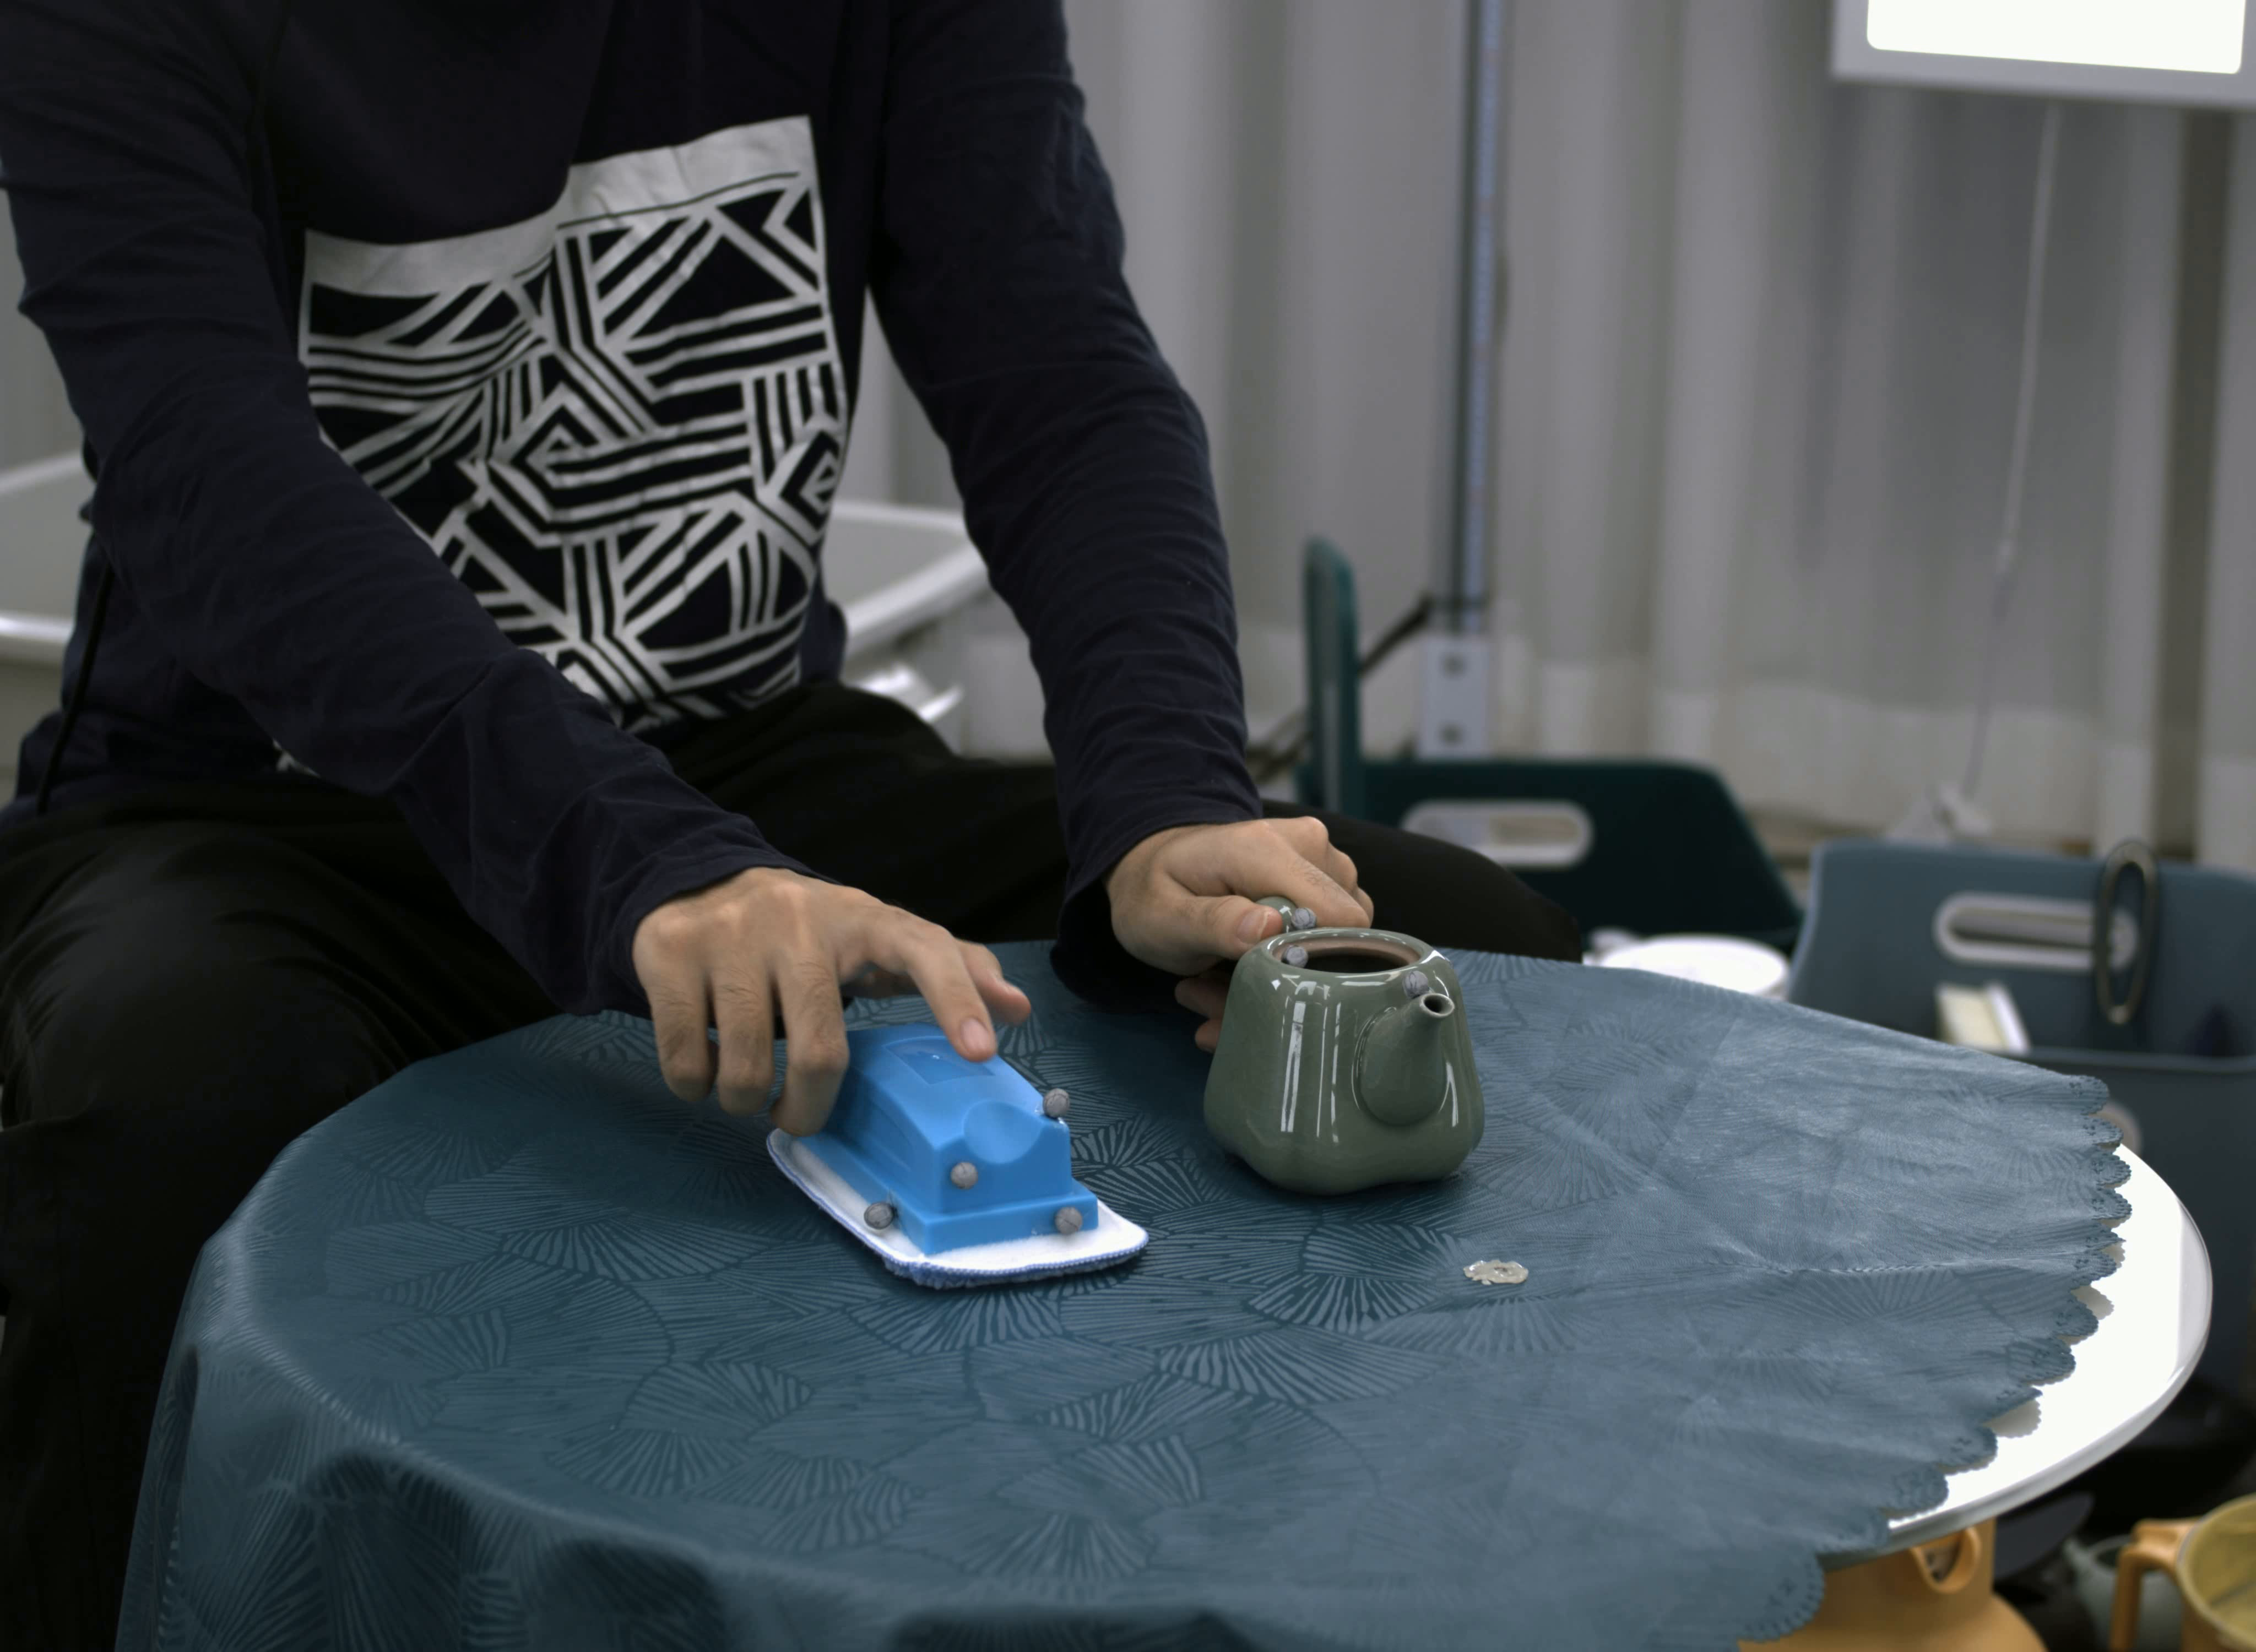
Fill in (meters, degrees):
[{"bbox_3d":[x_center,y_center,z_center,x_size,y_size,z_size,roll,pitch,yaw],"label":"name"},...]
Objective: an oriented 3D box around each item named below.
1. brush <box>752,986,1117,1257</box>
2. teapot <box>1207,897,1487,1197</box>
[{"bbox_3d":[-0.058,0.087,1.600,0.084,0.056,0.142,-2,18,-21],"label":"brush"},{"bbox_3d":[0.068,0.071,1.642,0.080,0.076,0.131,-7,16,-23],"label":"teapot"}]
